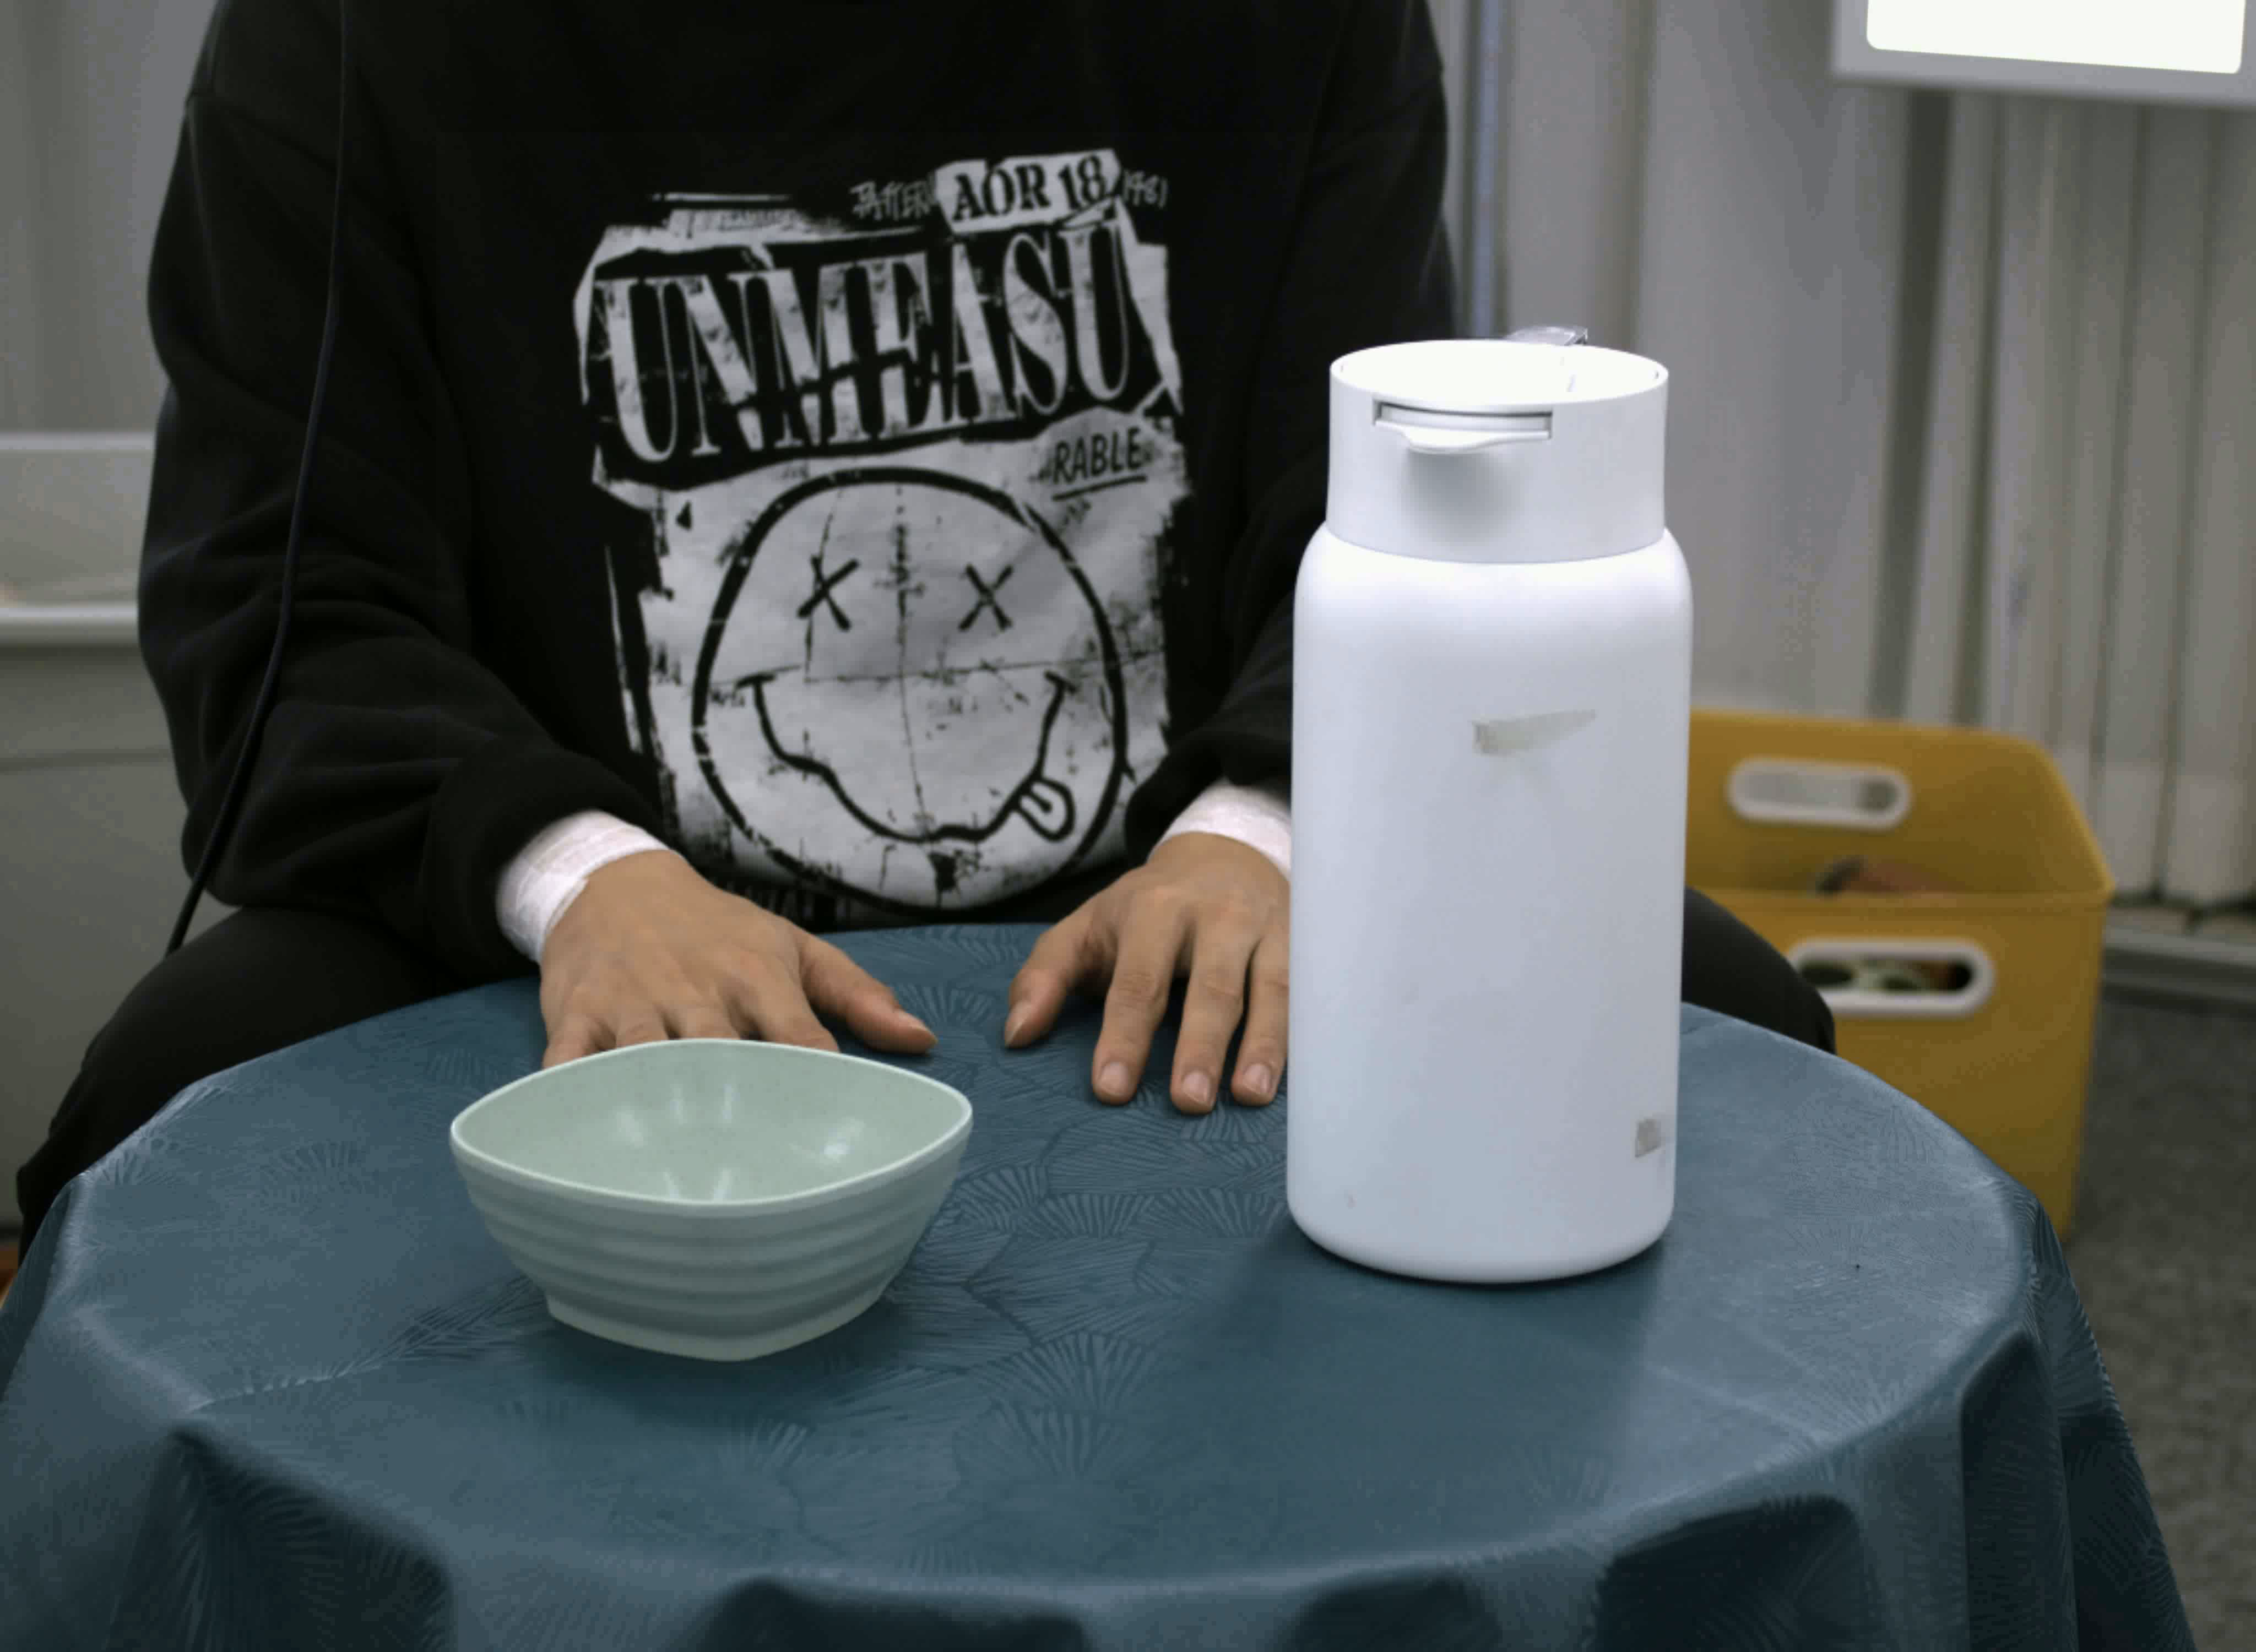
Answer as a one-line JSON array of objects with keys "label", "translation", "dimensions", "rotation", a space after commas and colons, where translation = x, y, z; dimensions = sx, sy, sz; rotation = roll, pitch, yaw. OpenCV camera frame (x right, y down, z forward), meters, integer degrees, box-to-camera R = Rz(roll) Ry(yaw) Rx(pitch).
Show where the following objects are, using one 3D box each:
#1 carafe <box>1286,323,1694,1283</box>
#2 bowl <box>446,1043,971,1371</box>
[{"label": "carafe", "translation": [0.110, -0.011, 1.571], "dimensions": [0.123, 0.271, 0.173], "rotation": [3, 16, 16]}, {"label": "bowl", "translation": [-0.120, 0.113, 1.519], "dimensions": [0.151, 0.059, 0.150], "rotation": [1, 16, 0]}]
